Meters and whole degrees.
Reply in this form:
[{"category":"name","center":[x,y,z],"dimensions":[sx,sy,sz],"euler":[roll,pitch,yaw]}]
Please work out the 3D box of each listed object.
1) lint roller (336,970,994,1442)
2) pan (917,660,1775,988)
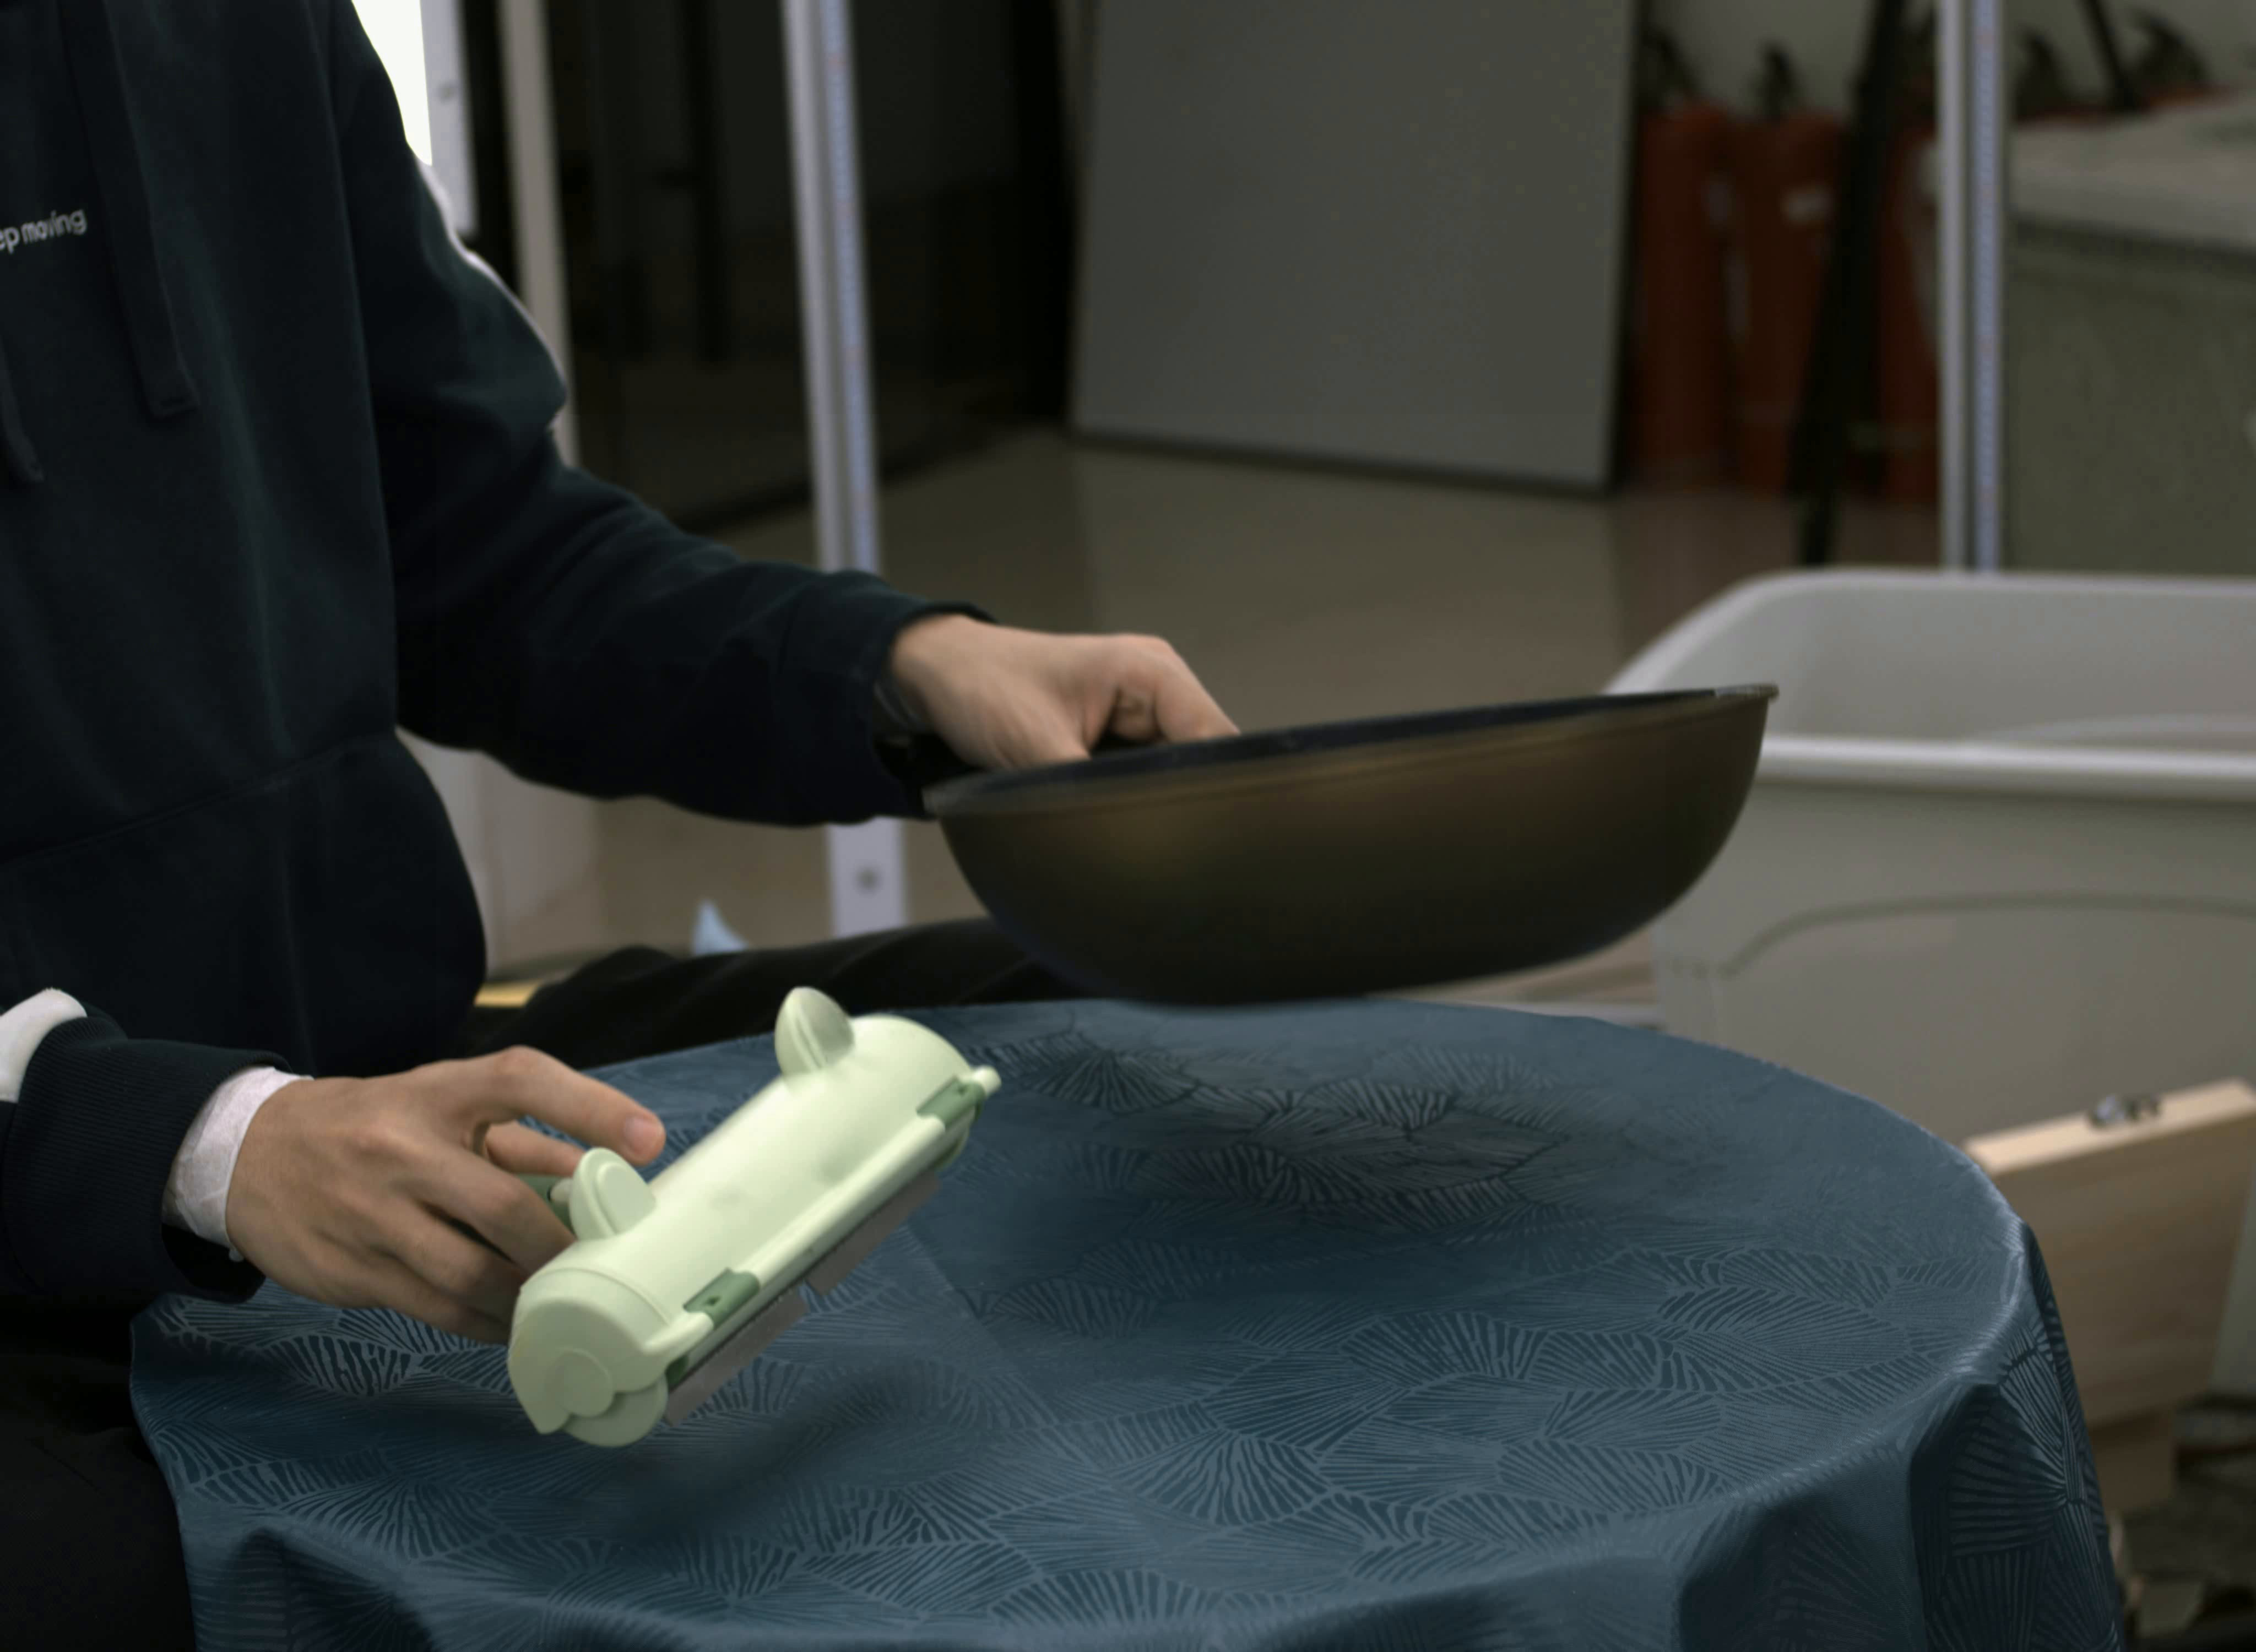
[{"category":"lint roller","center":[-0.159,0.100,1.573],"dimensions":[0.184,0.083,0.196],"euler":[5,24,28]},{"category":"pan","center":[0.034,0.008,1.825],"dimensions":[0.281,0.088,0.468],"euler":[-6,-1,-26]}]
